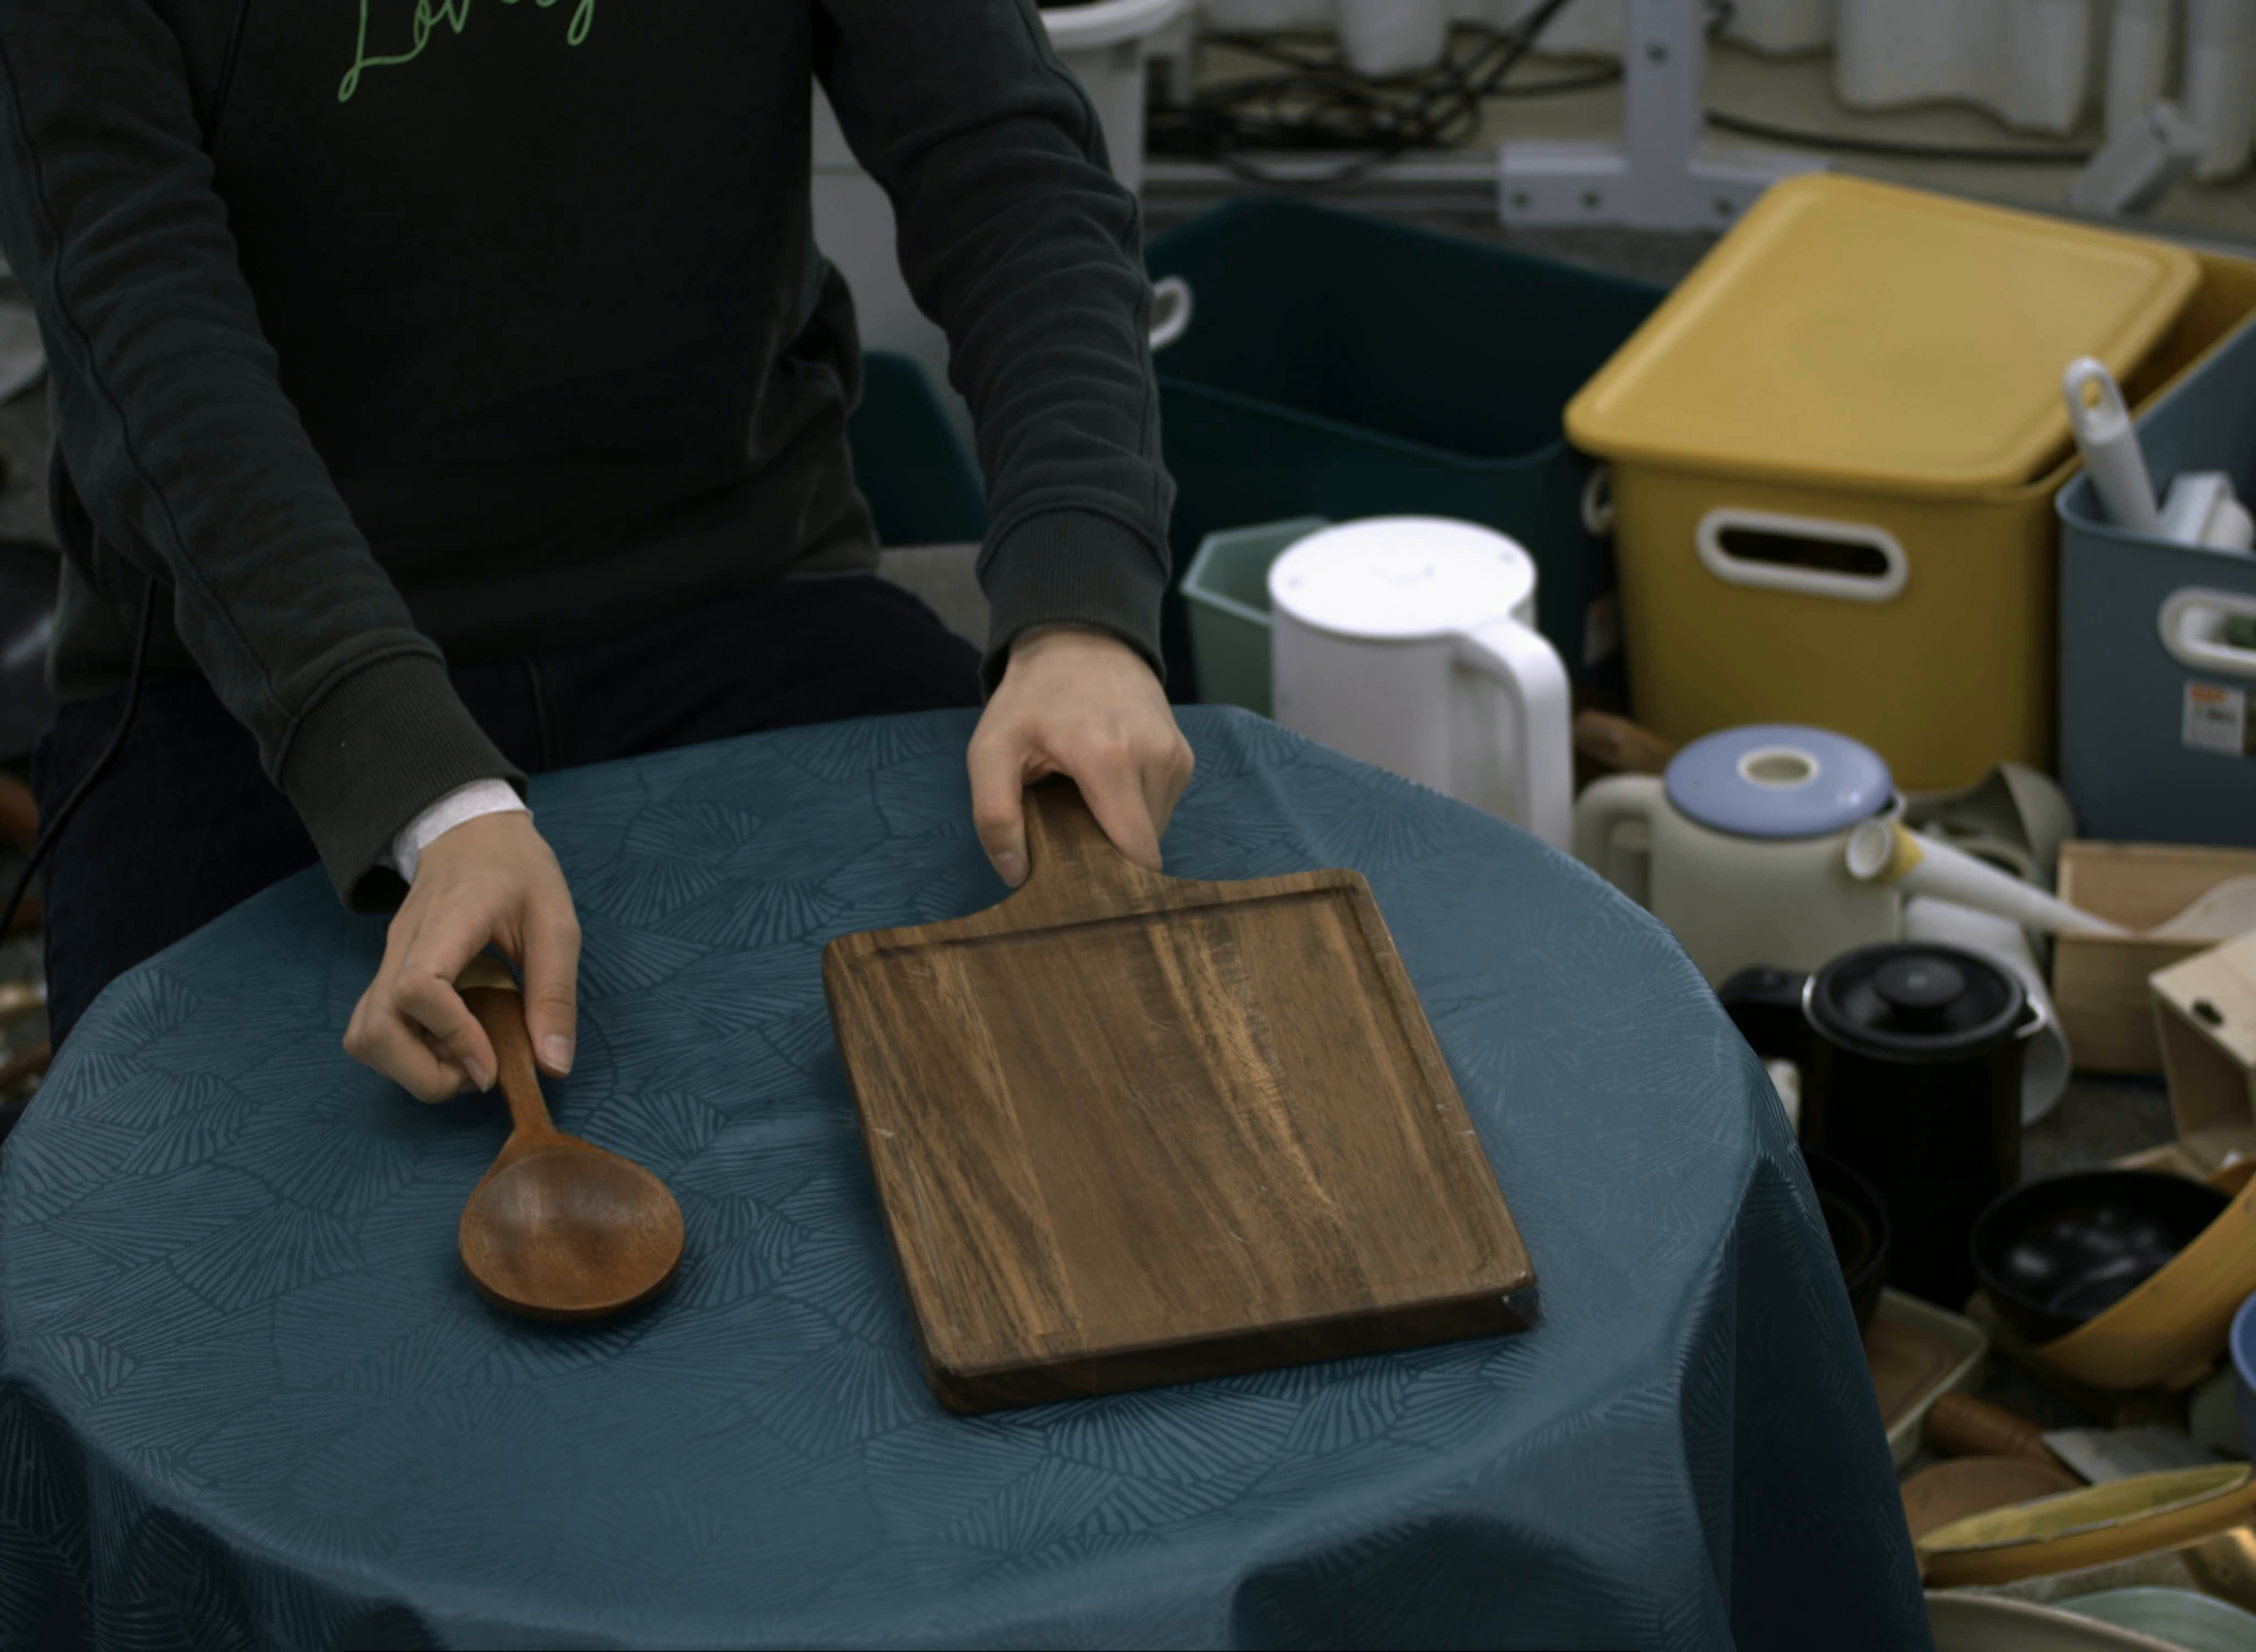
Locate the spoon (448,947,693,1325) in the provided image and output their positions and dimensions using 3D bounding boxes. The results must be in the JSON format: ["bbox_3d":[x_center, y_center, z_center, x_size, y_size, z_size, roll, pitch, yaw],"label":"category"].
[{"bbox_3d":[-0.197,0.104,1.881,0.075,0.017,0.218,-11,34,-12],"label":"spoon"}]

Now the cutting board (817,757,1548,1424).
[{"bbox_3d":[0.003,0.074,1.901,0.201,0.023,0.357,-8,32,-8],"label":"cutting board"}]
